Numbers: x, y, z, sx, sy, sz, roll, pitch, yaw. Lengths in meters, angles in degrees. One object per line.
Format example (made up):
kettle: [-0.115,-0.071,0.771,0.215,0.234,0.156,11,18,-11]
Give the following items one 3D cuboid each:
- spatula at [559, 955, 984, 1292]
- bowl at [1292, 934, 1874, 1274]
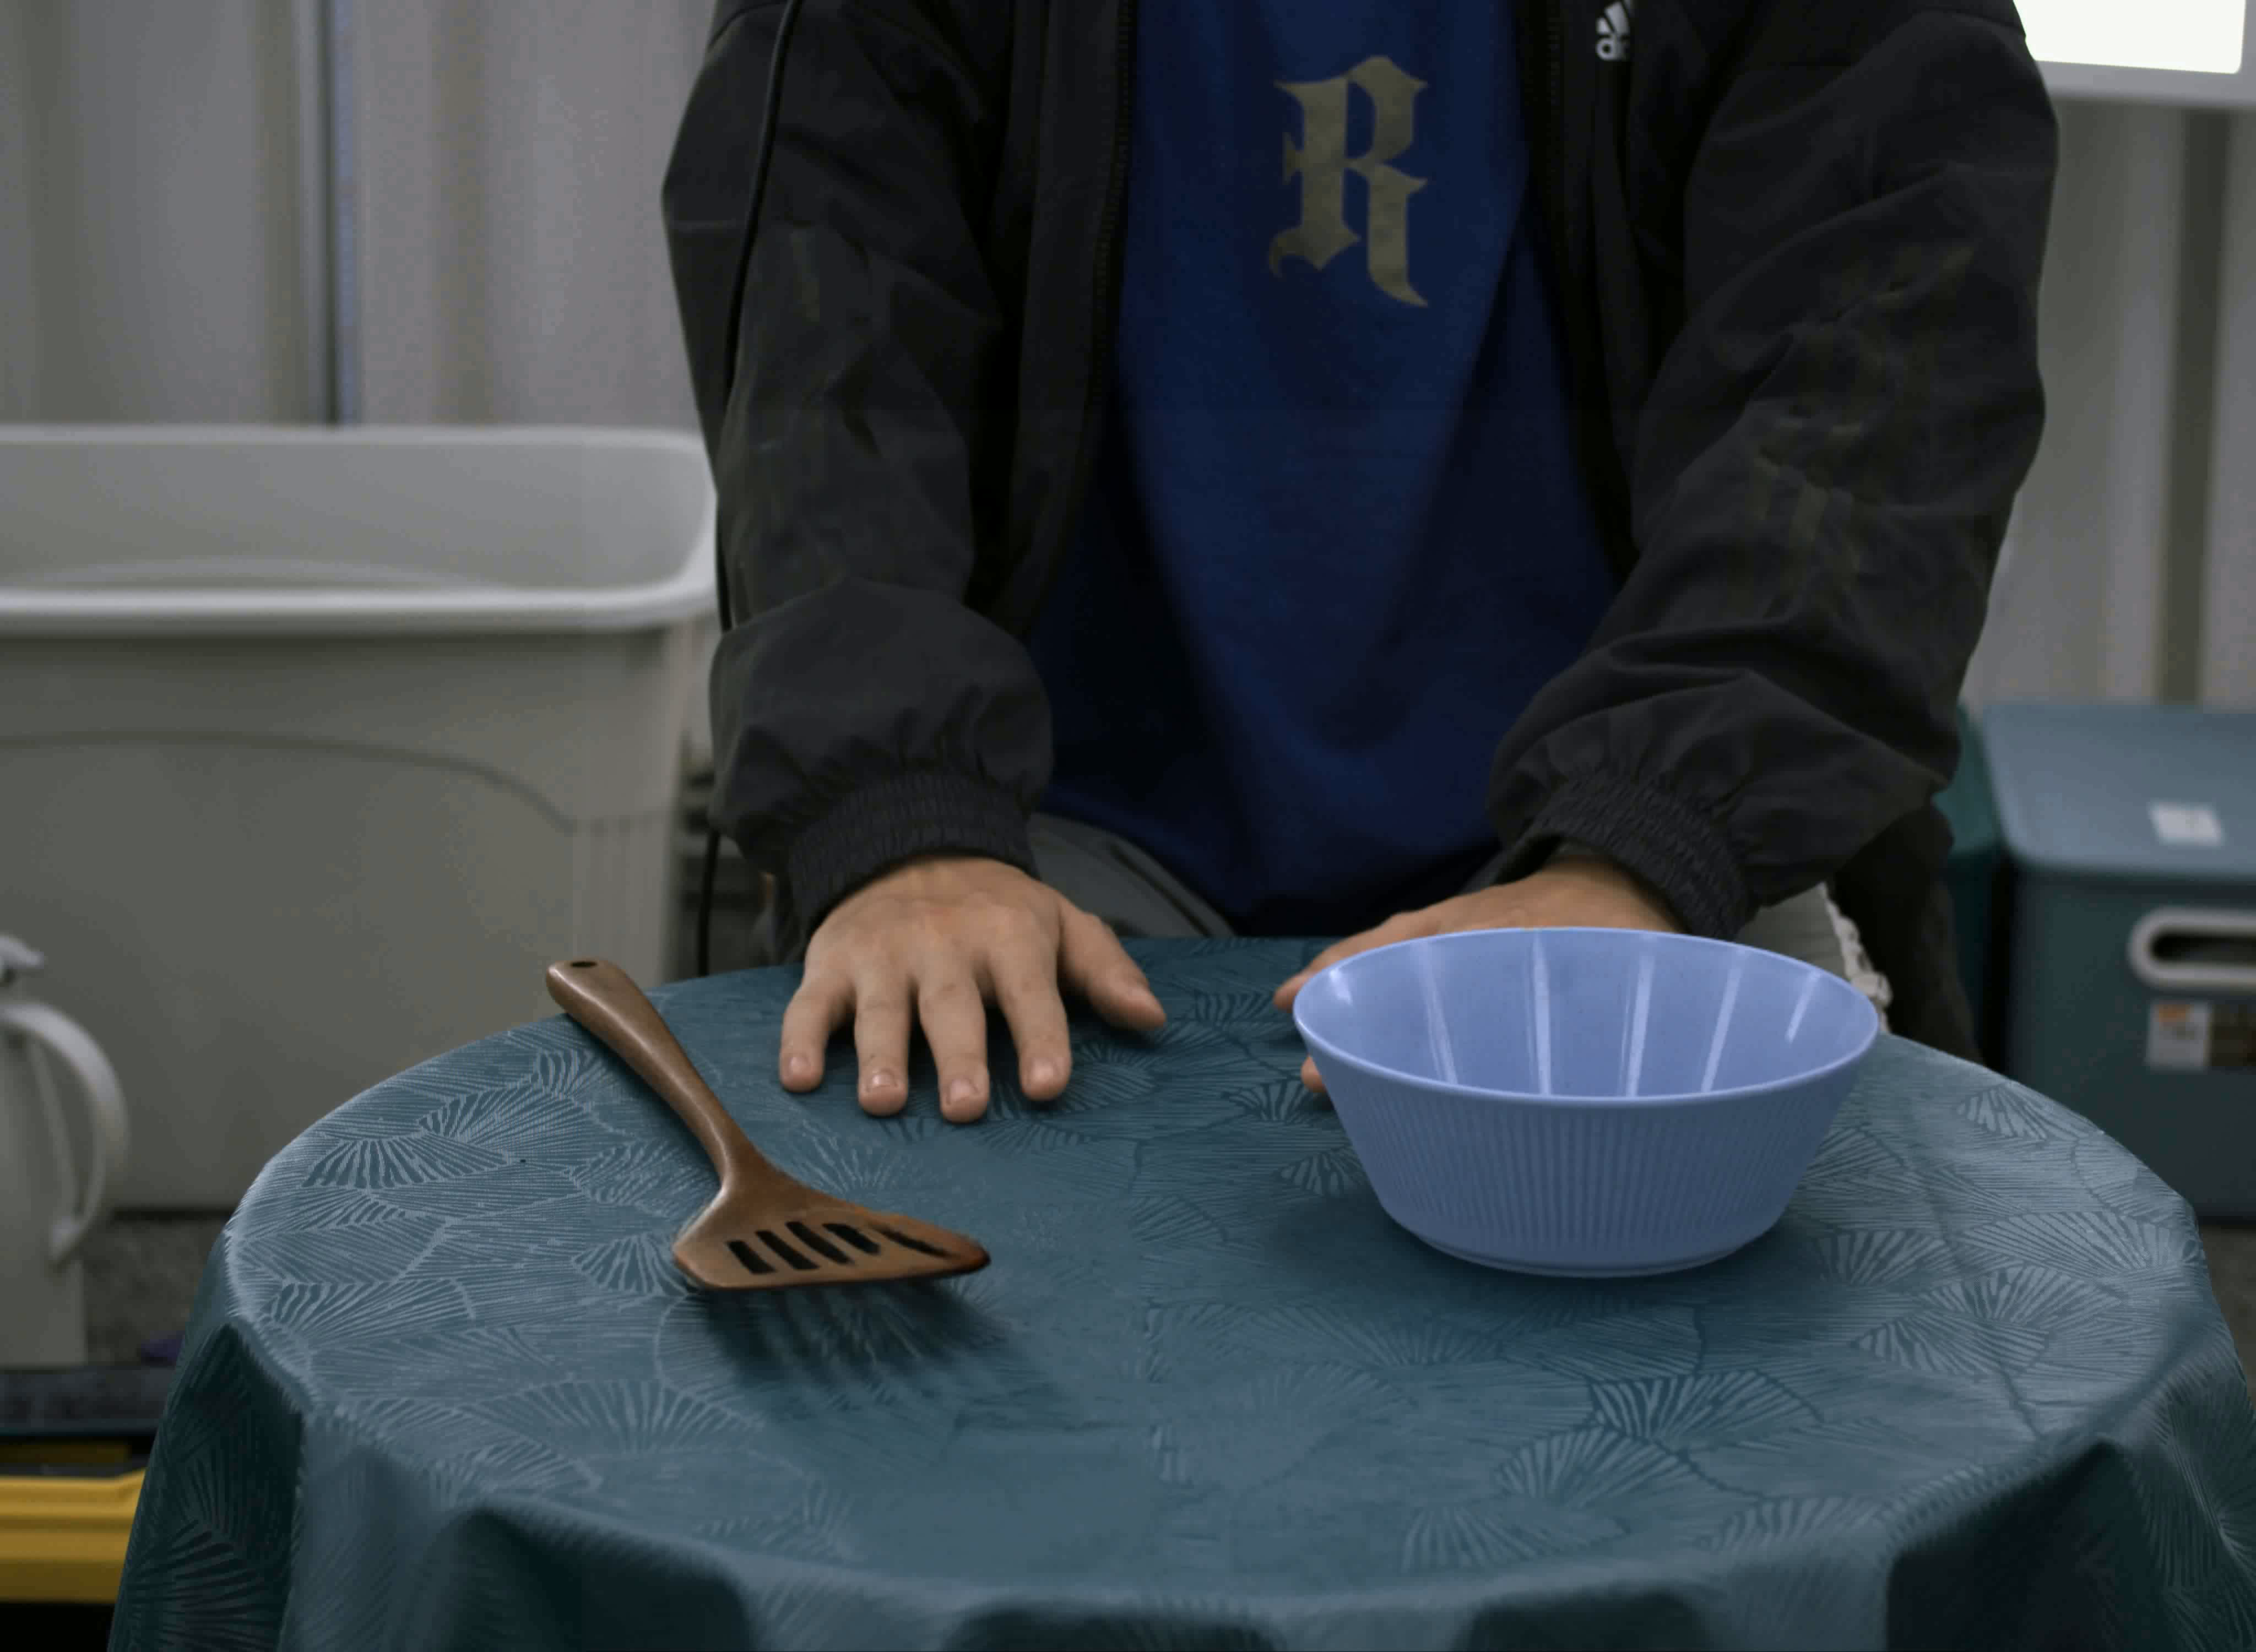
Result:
spatula: [-0.132,0.093,1.649,0.086,0.024,0.383,-4,14,-17]
bowl: [0.136,0.086,1.591,0.175,0.071,0.175,1,14,0]
